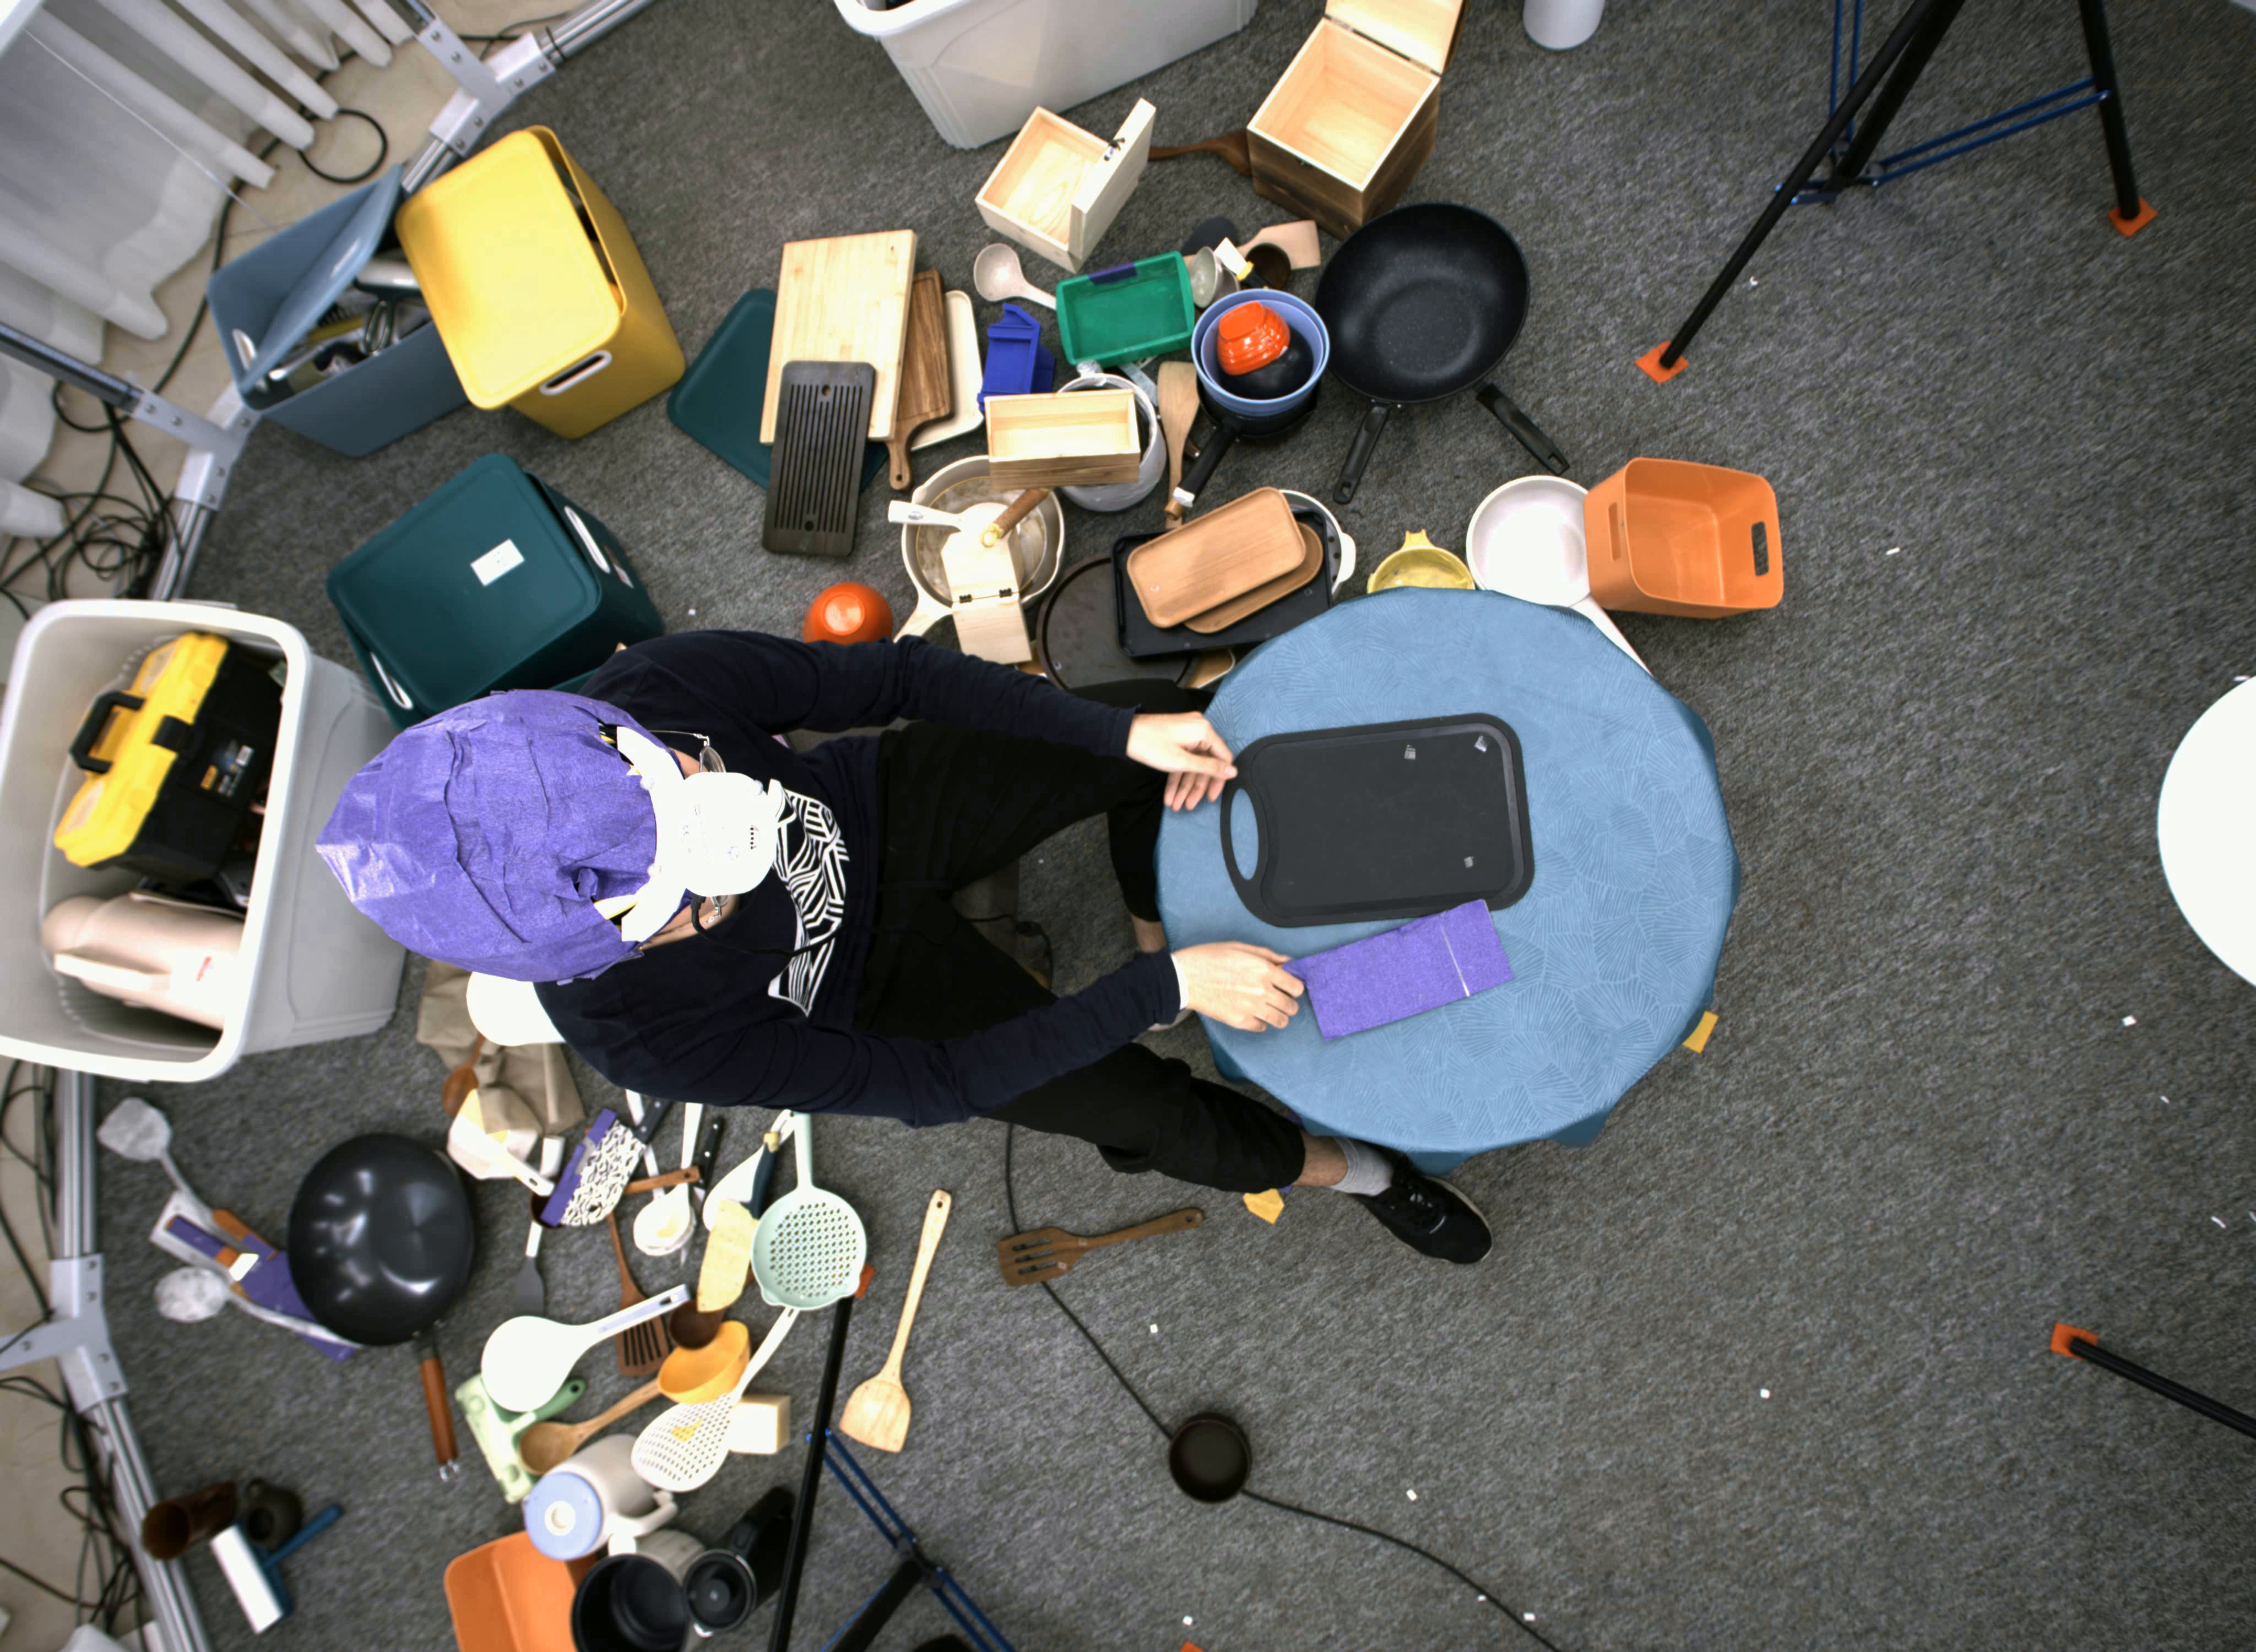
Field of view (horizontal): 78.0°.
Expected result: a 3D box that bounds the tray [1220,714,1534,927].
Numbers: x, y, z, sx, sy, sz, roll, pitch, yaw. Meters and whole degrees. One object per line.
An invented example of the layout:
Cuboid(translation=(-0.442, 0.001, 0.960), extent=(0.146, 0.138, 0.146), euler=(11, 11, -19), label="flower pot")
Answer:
Cuboid(translation=(0.260, -0.006, 1.463), extent=(0.327, 0.010, 0.210), euler=(-5, 86, 10), label="tray")

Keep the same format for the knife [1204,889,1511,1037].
Cuboid(translation=(0.240, 0.162, 1.444), extent=(0.317, 0.032, 0.103), euler=(-20, 85, 8), label="knife")
